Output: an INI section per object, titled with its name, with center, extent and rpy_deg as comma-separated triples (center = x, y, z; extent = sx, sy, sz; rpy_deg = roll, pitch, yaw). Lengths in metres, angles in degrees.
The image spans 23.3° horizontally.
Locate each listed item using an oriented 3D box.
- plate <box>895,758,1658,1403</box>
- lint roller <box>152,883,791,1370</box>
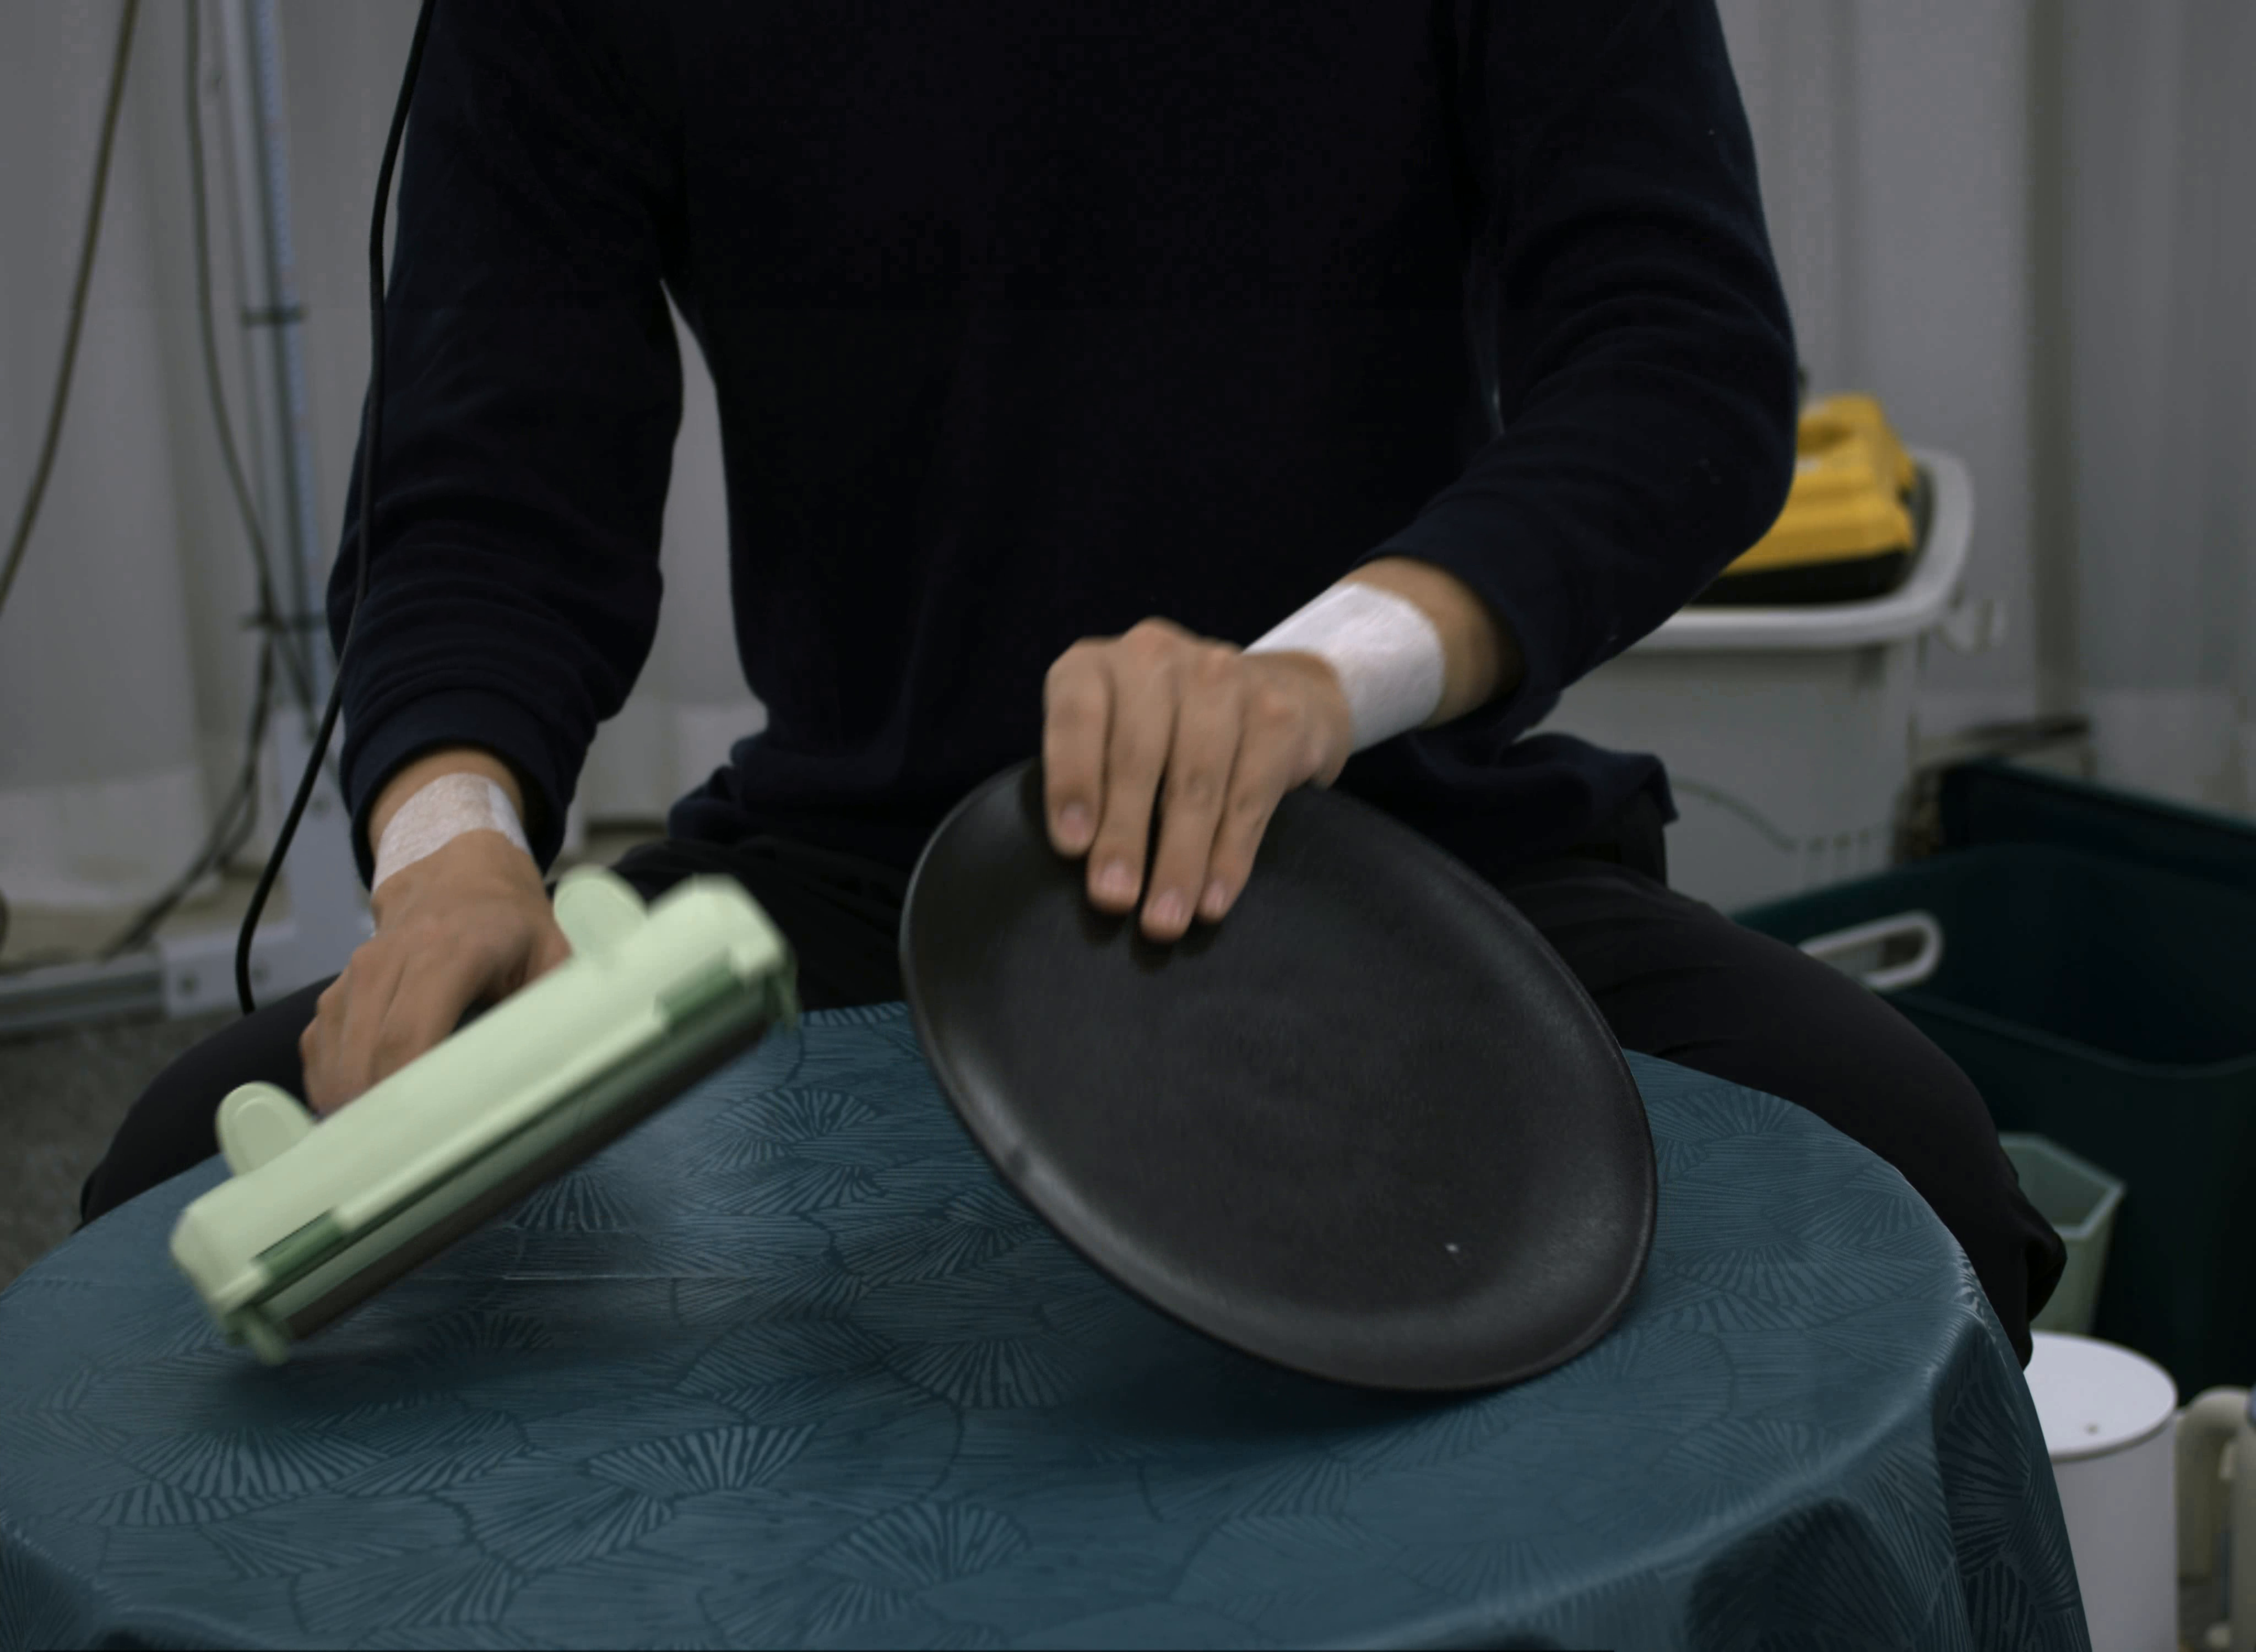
[plate]
center = 0.042, 0.076, 1.590
extent = 0.243, 0.023, 0.248
rpy_deg = 18, 40, -15
[lint roller]
center = -0.214, 0.069, 1.649
extent = 0.198, 0.081, 0.185
rpy_deg = -30, 25, -14
